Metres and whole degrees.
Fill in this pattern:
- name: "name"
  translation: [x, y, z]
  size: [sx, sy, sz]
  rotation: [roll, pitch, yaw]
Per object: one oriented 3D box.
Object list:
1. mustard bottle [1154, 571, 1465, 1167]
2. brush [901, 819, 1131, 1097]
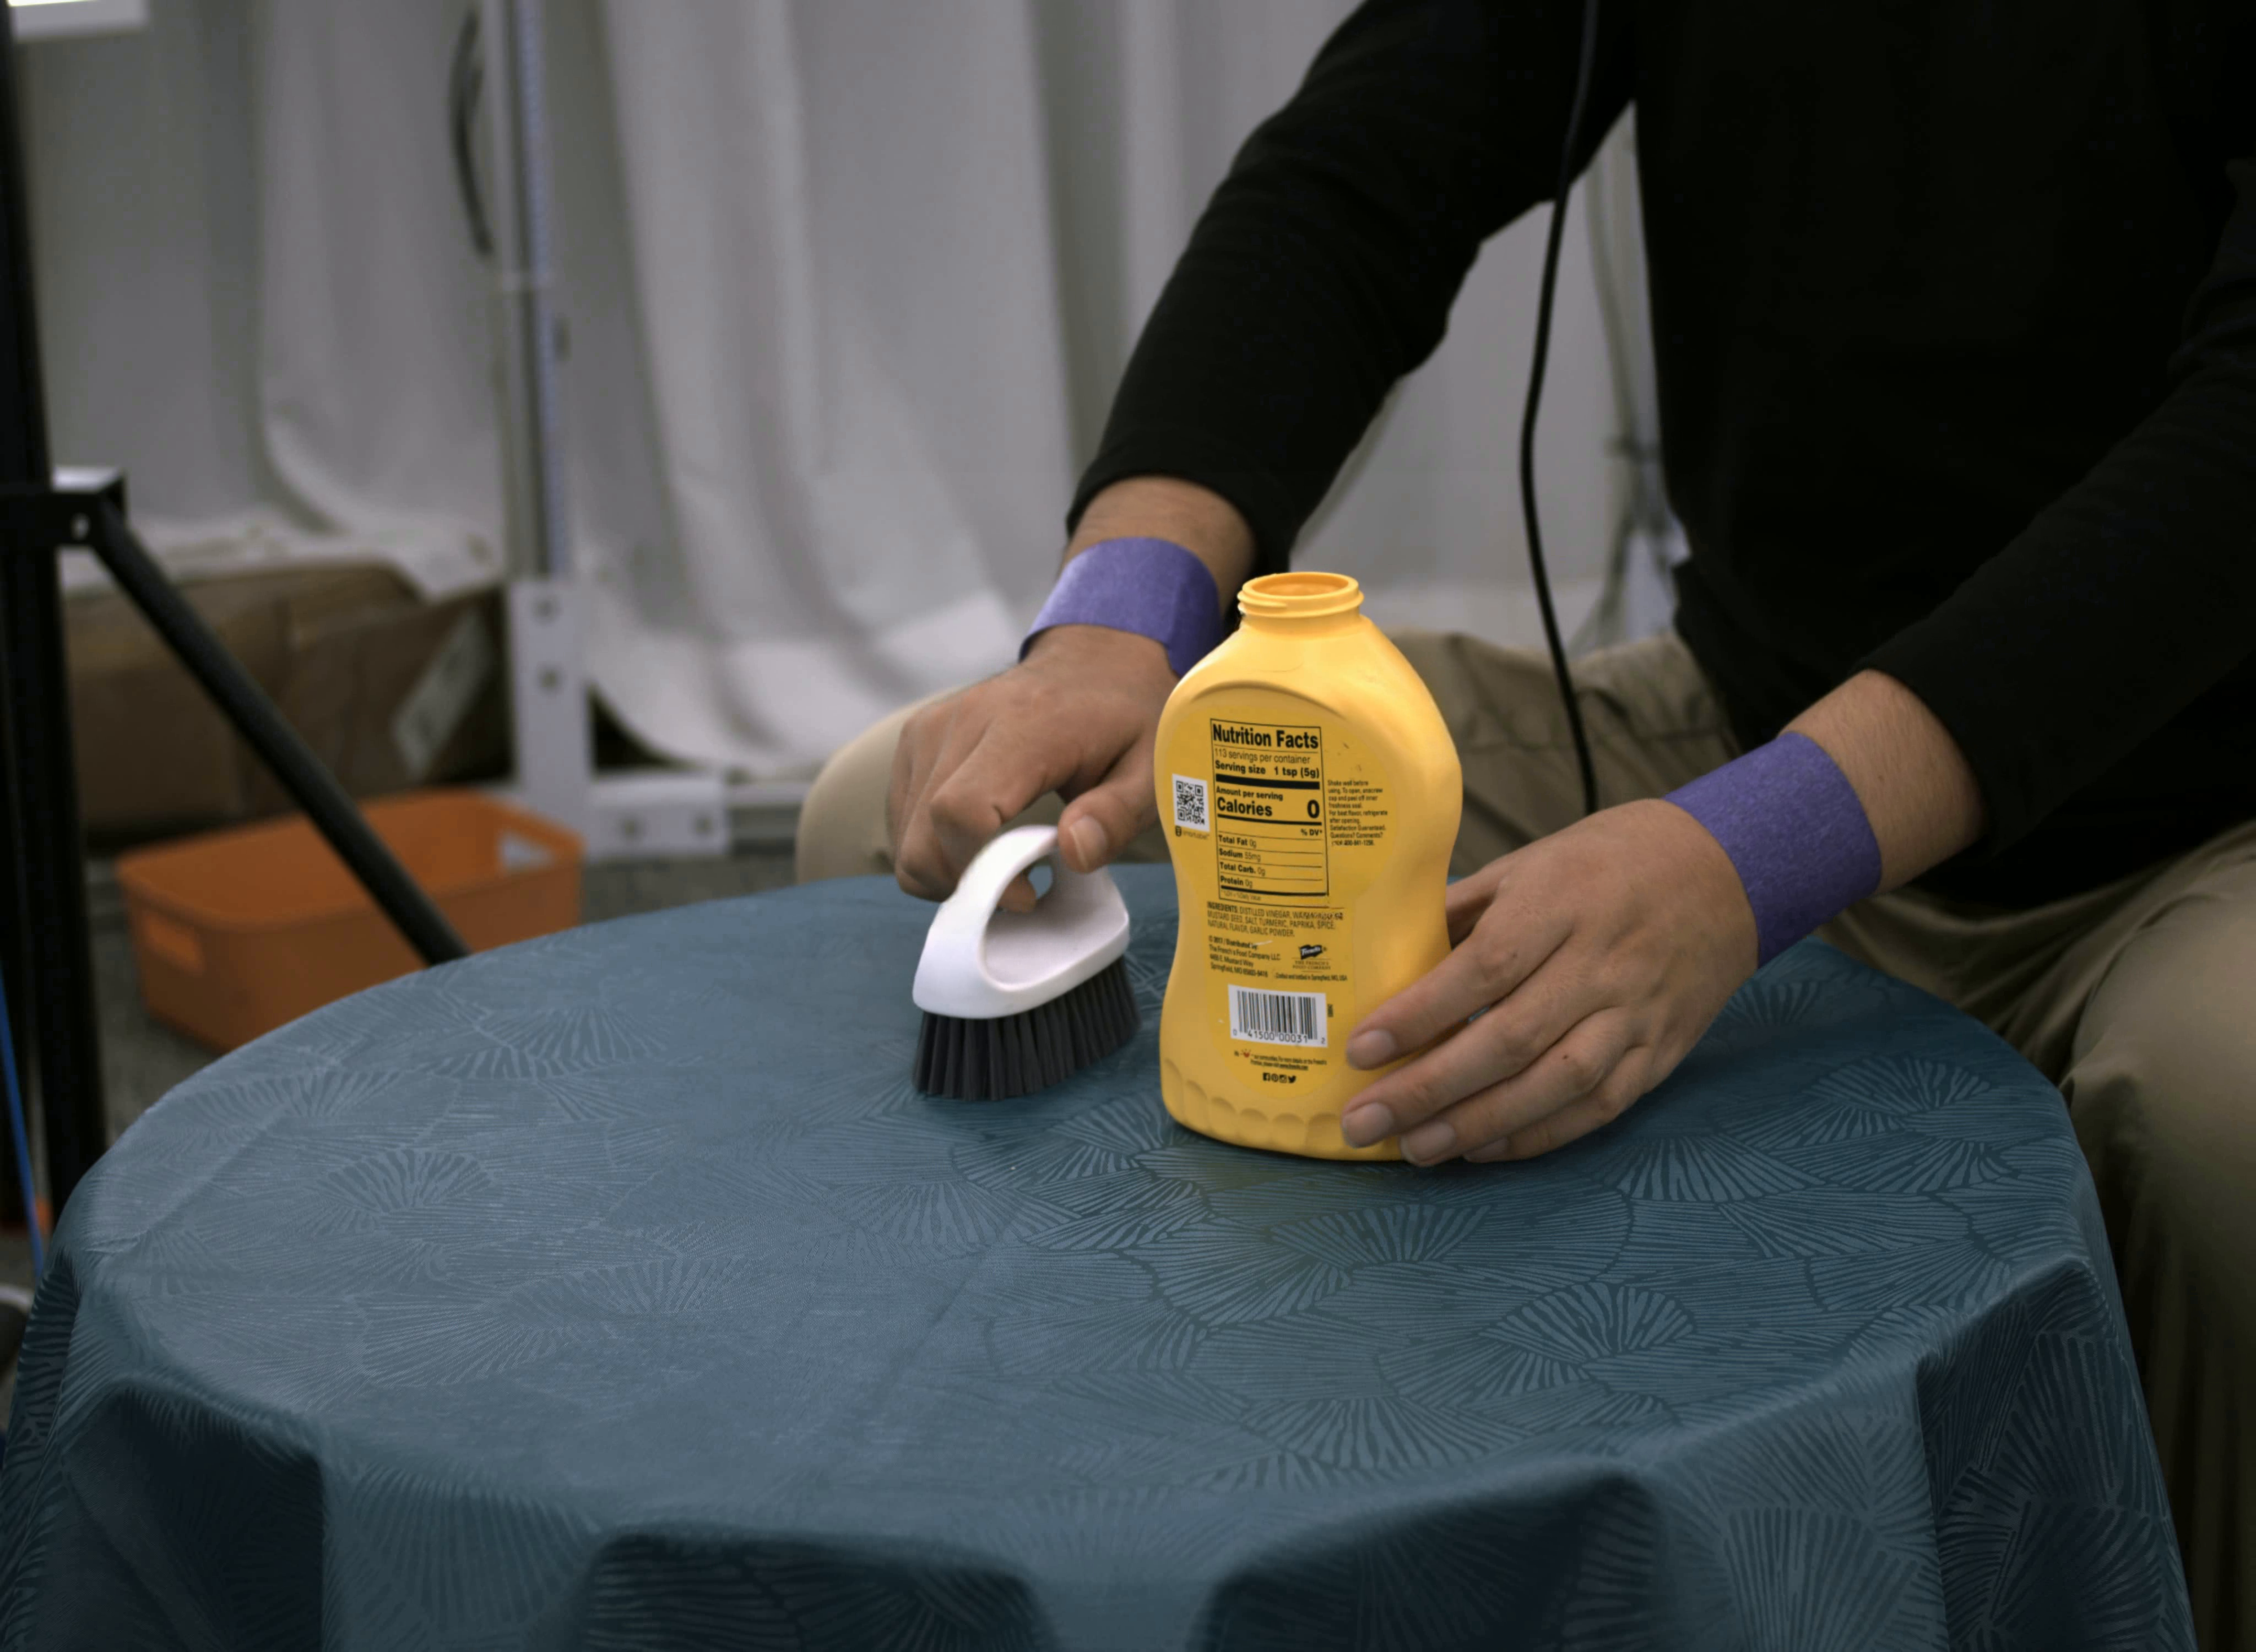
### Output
- name: "mustard bottle"
  translation: [0.053, 0.011, 1.583]
  size: [0.100, 0.172, 0.058]
  rotation: [5, 14, 30]
- name: "brush"
  translation: [-0.035, 0.036, 1.682]
  size: [0.051, 0.072, 0.097]
  rotation: [8, 20, 29]
